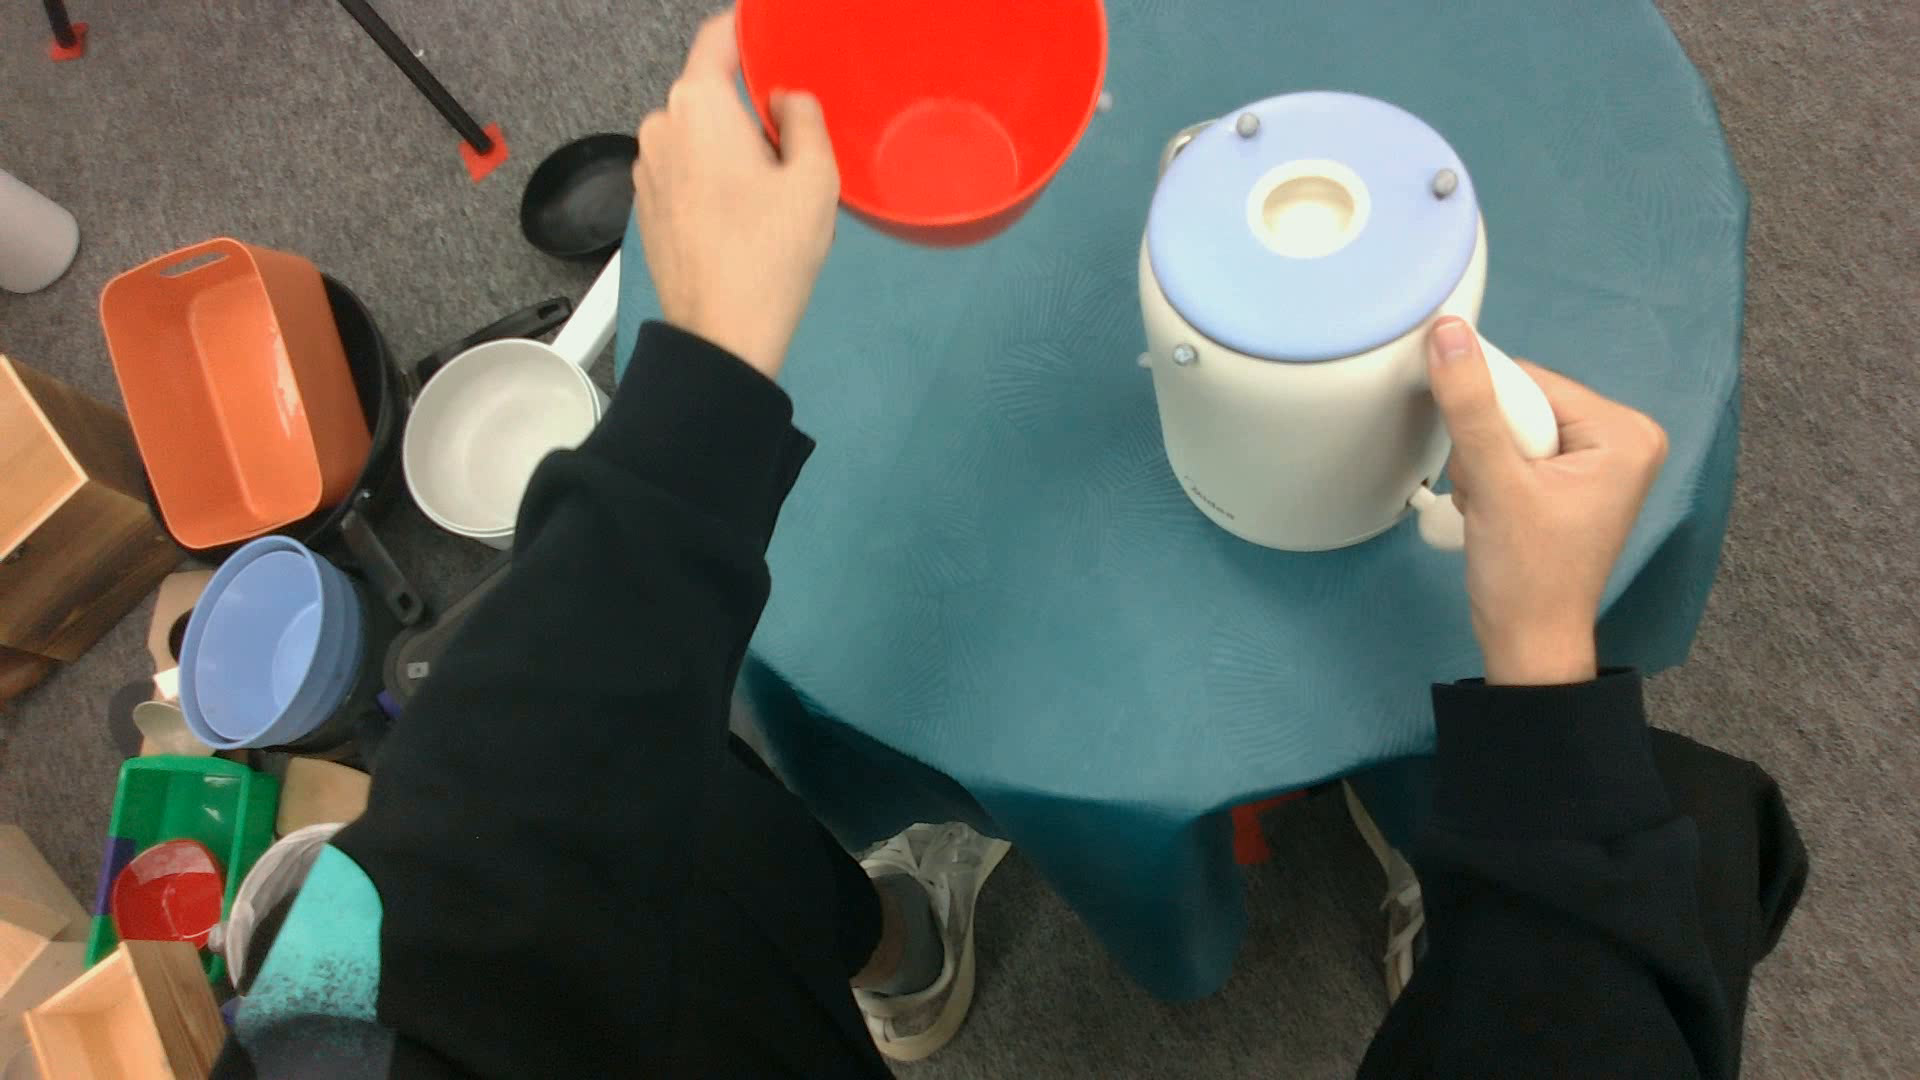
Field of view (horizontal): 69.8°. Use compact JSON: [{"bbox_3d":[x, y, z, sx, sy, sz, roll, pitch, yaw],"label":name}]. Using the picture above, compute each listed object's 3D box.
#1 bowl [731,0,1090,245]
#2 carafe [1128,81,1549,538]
[{"bbox_3d":[-0.018,-0.193,0.603,0.148,0.104,0.148,-1,73,2],"label":"bowl"},{"bbox_3d":[0.158,-0.076,0.578,0.191,0.182,0.132,41,80,22],"label":"carafe"}]
